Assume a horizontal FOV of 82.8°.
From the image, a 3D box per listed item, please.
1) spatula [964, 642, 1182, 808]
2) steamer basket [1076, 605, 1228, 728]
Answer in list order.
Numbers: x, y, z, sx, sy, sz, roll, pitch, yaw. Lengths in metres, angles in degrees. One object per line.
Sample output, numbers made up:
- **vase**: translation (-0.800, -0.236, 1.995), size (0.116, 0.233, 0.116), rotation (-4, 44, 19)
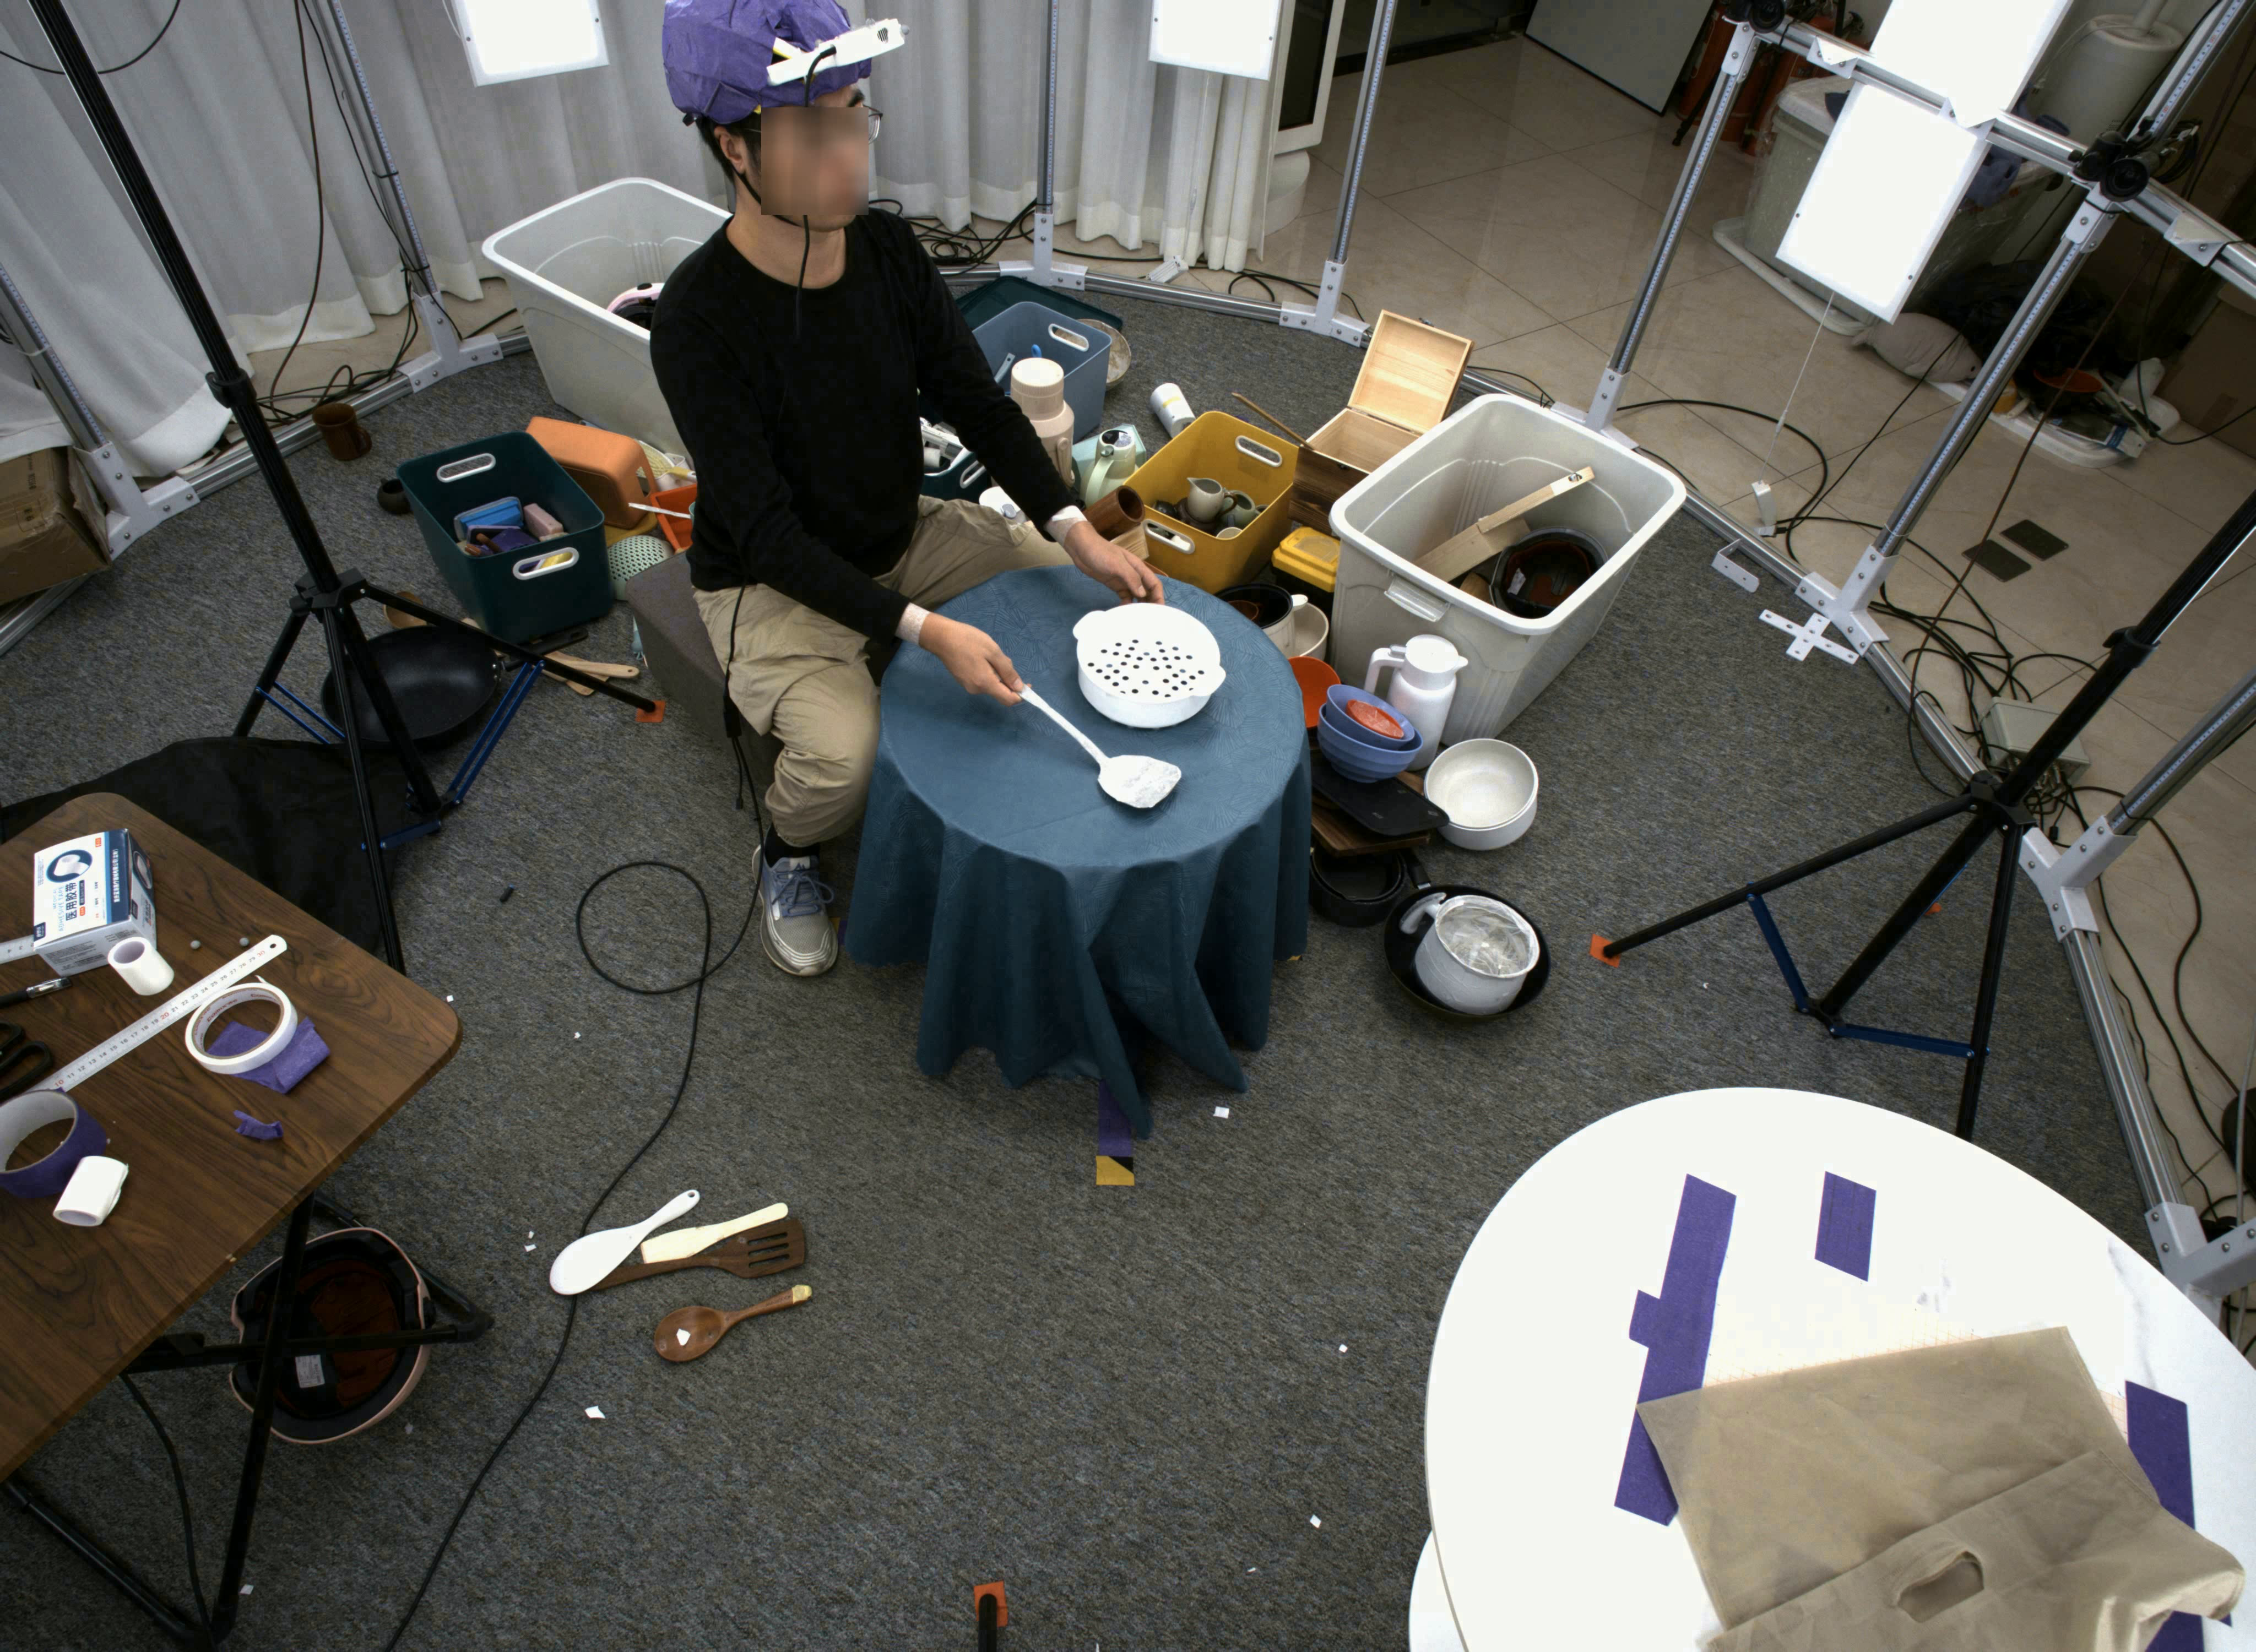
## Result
- **spatula**: translation (-0.089, -0.147, 1.736), size (0.367, 0.044, 0.100), rotation (39, 55, 11)
- **steamer basket**: translation (0.031, -0.225, 1.822), size (0.233, 0.067, 0.205), rotation (27, 52, 20)
